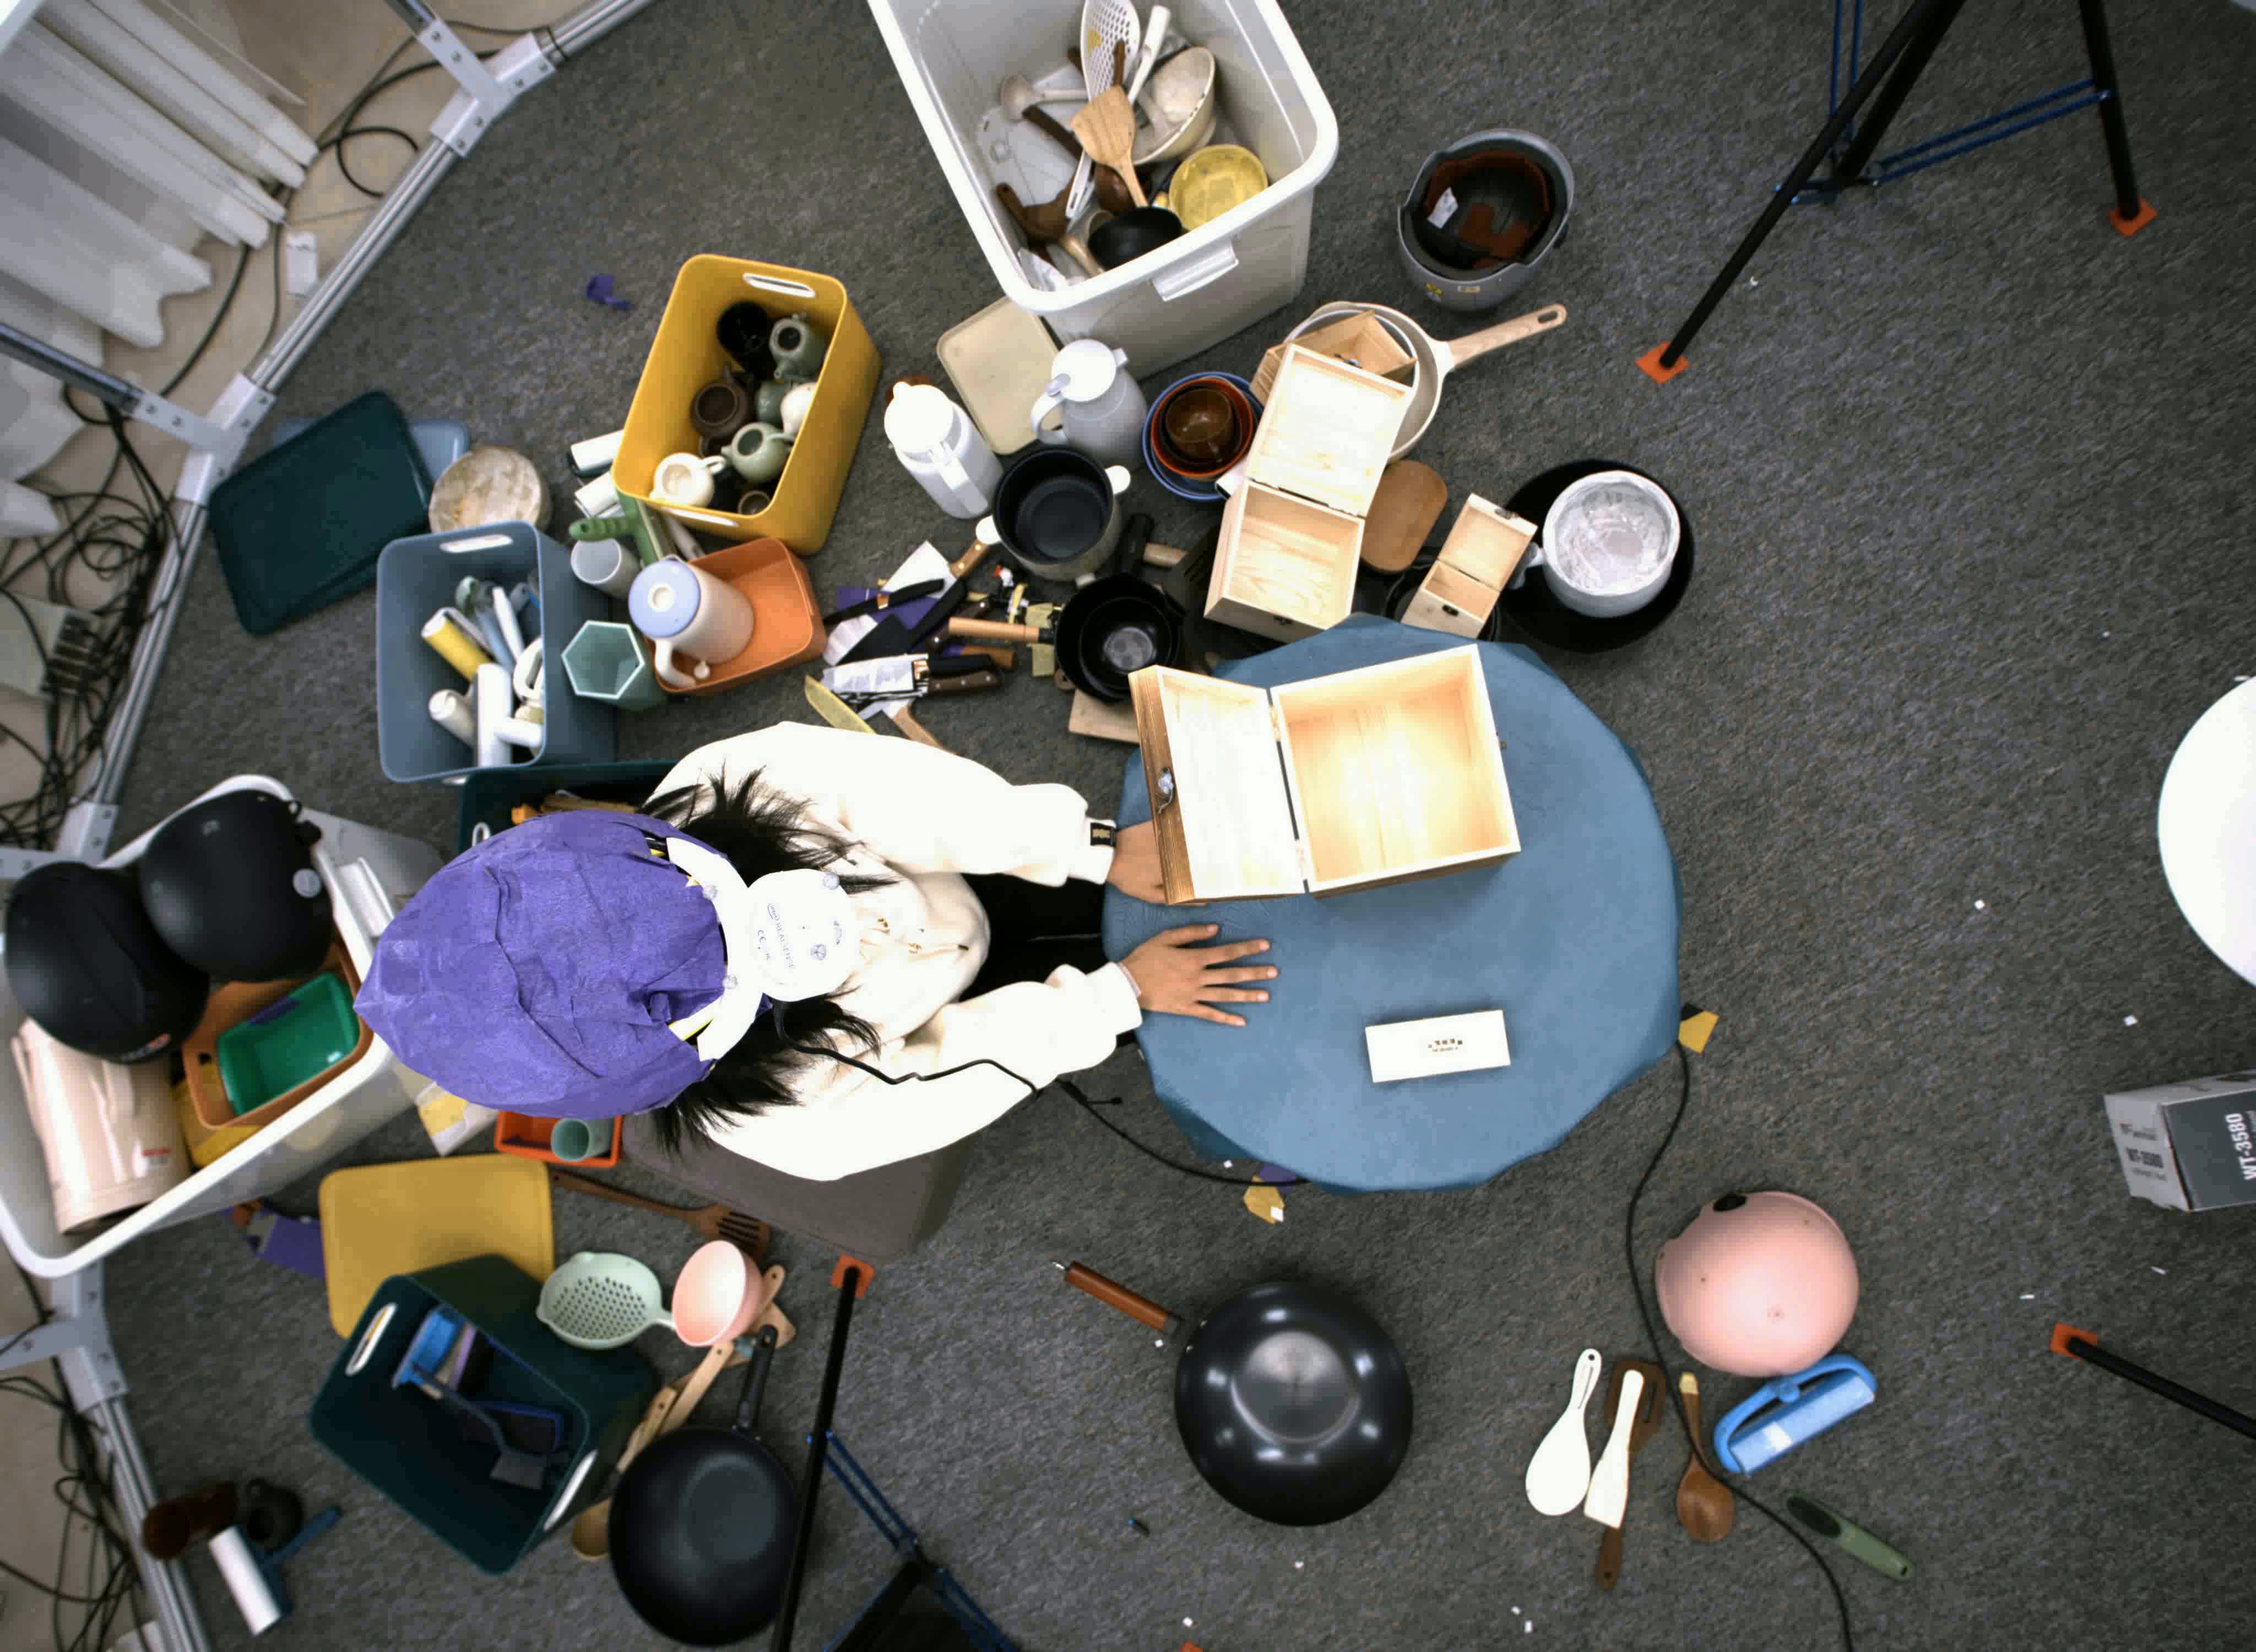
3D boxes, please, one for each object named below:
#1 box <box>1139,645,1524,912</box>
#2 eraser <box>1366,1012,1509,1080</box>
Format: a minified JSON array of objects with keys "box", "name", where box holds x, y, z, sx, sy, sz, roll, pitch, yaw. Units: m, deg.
[{"box":[0.200,-0.045,1.296,0.324,0.375,0.207,-12,84,9],"name":"box"},{"box":[0.319,0.225,1.428,0.140,0.029,0.057,-8,88,11],"name":"eraser"}]
